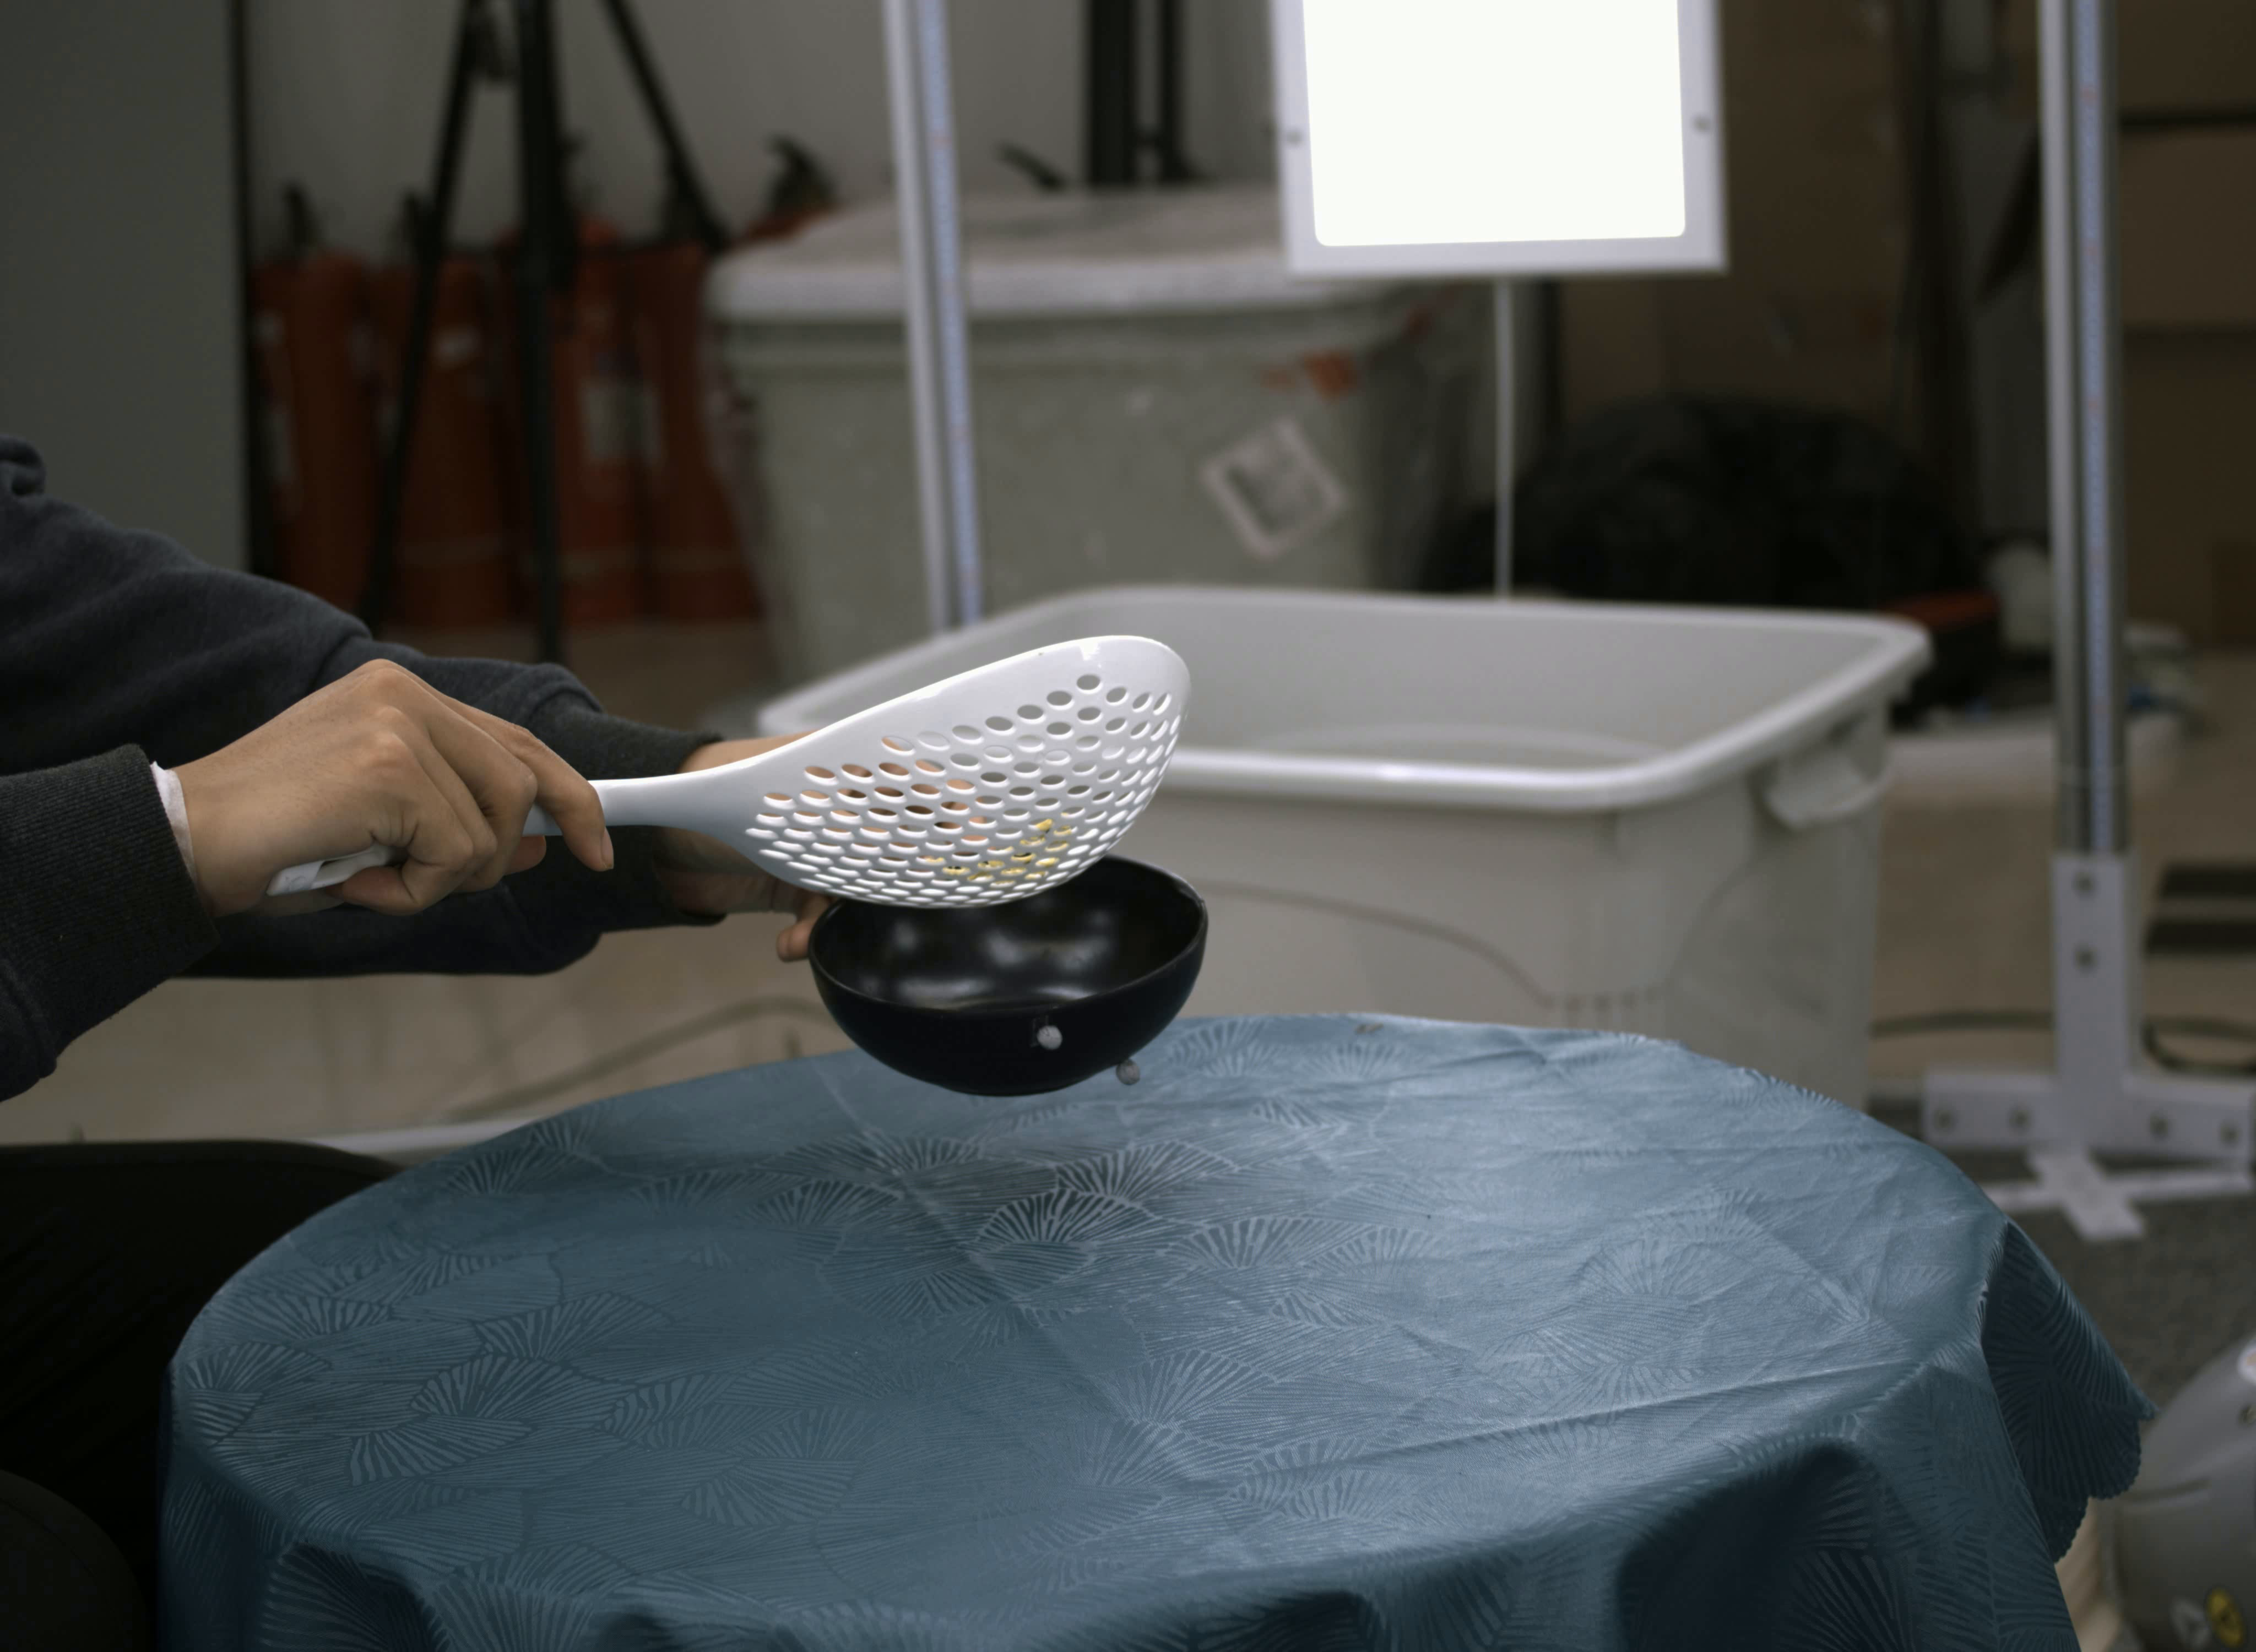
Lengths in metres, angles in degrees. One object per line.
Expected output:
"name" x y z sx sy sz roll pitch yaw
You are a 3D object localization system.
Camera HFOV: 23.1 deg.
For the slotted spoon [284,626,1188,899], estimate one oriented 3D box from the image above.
"slotted spoon" -0.123 -0.004 1.763 0.339 0.050 0.139 -2 -35 -34
